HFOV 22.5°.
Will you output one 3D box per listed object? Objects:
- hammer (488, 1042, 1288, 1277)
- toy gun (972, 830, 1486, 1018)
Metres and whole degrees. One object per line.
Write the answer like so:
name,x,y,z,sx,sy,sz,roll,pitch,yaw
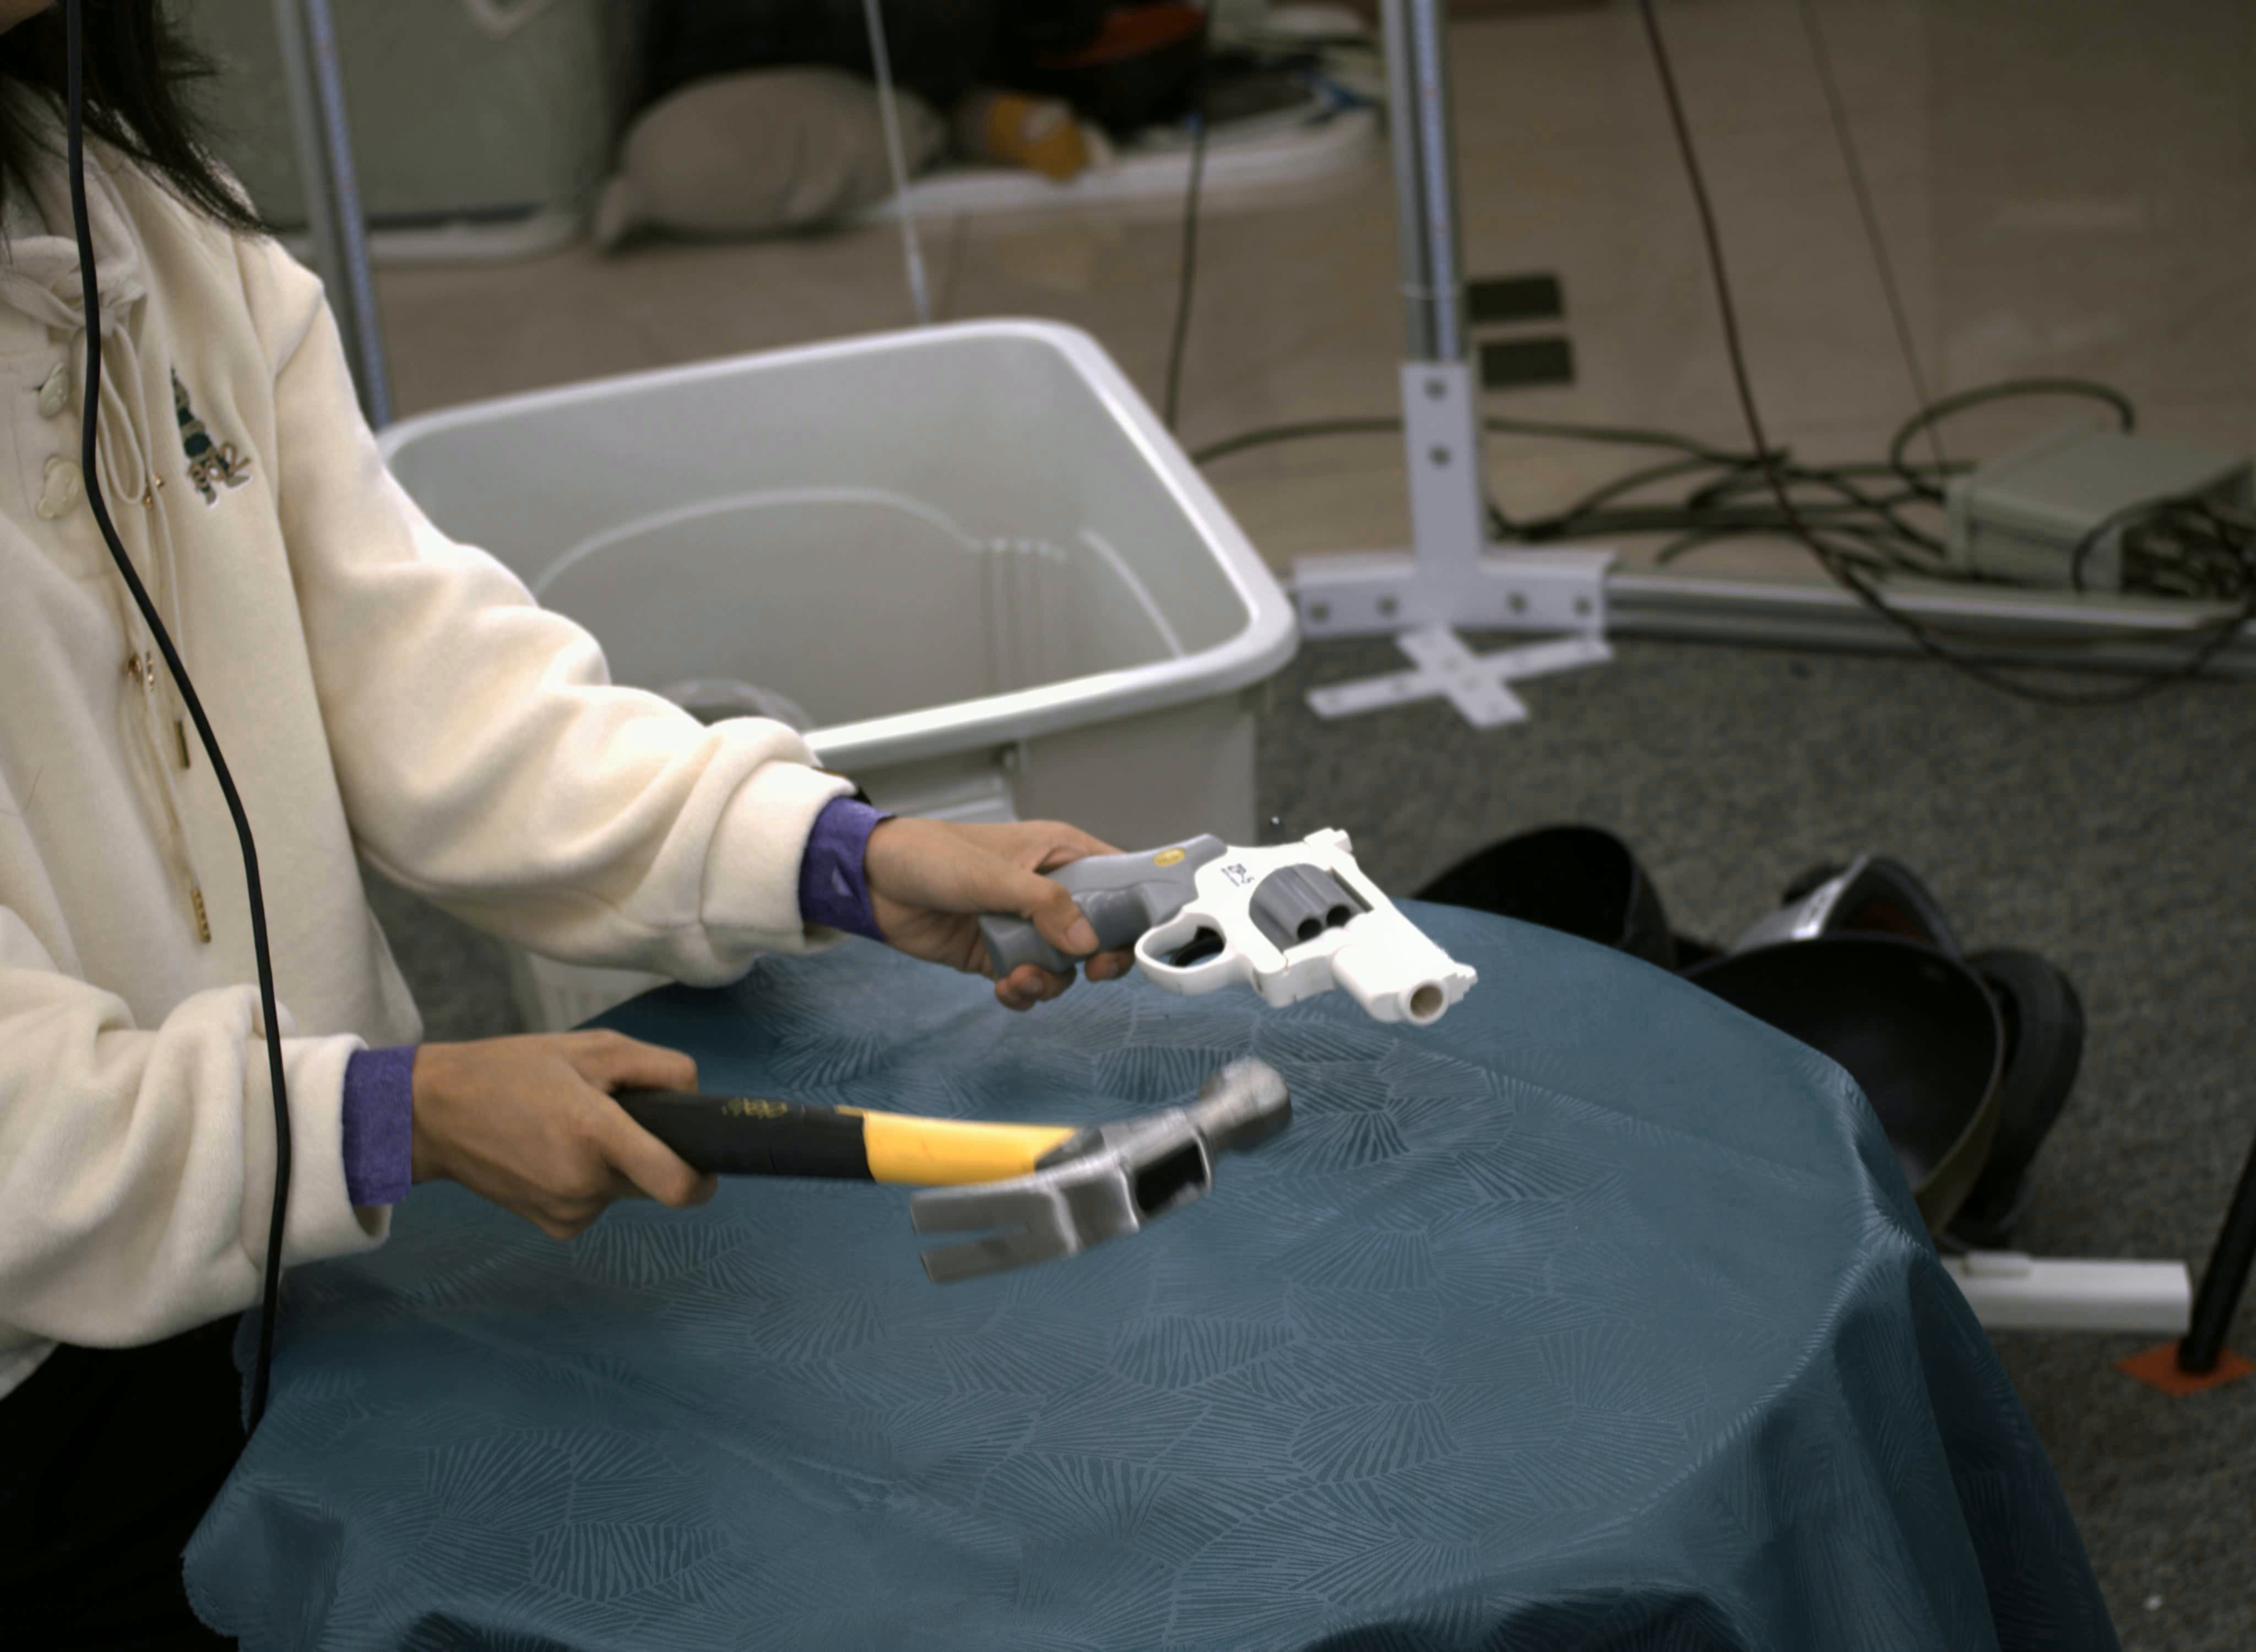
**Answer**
hammer,-0.108,0.105,2.004,0.337,0.032,0.130,3,27,44
toy gun,0.034,0.044,2.187,0.141,0.039,0.206,-23,28,-14
